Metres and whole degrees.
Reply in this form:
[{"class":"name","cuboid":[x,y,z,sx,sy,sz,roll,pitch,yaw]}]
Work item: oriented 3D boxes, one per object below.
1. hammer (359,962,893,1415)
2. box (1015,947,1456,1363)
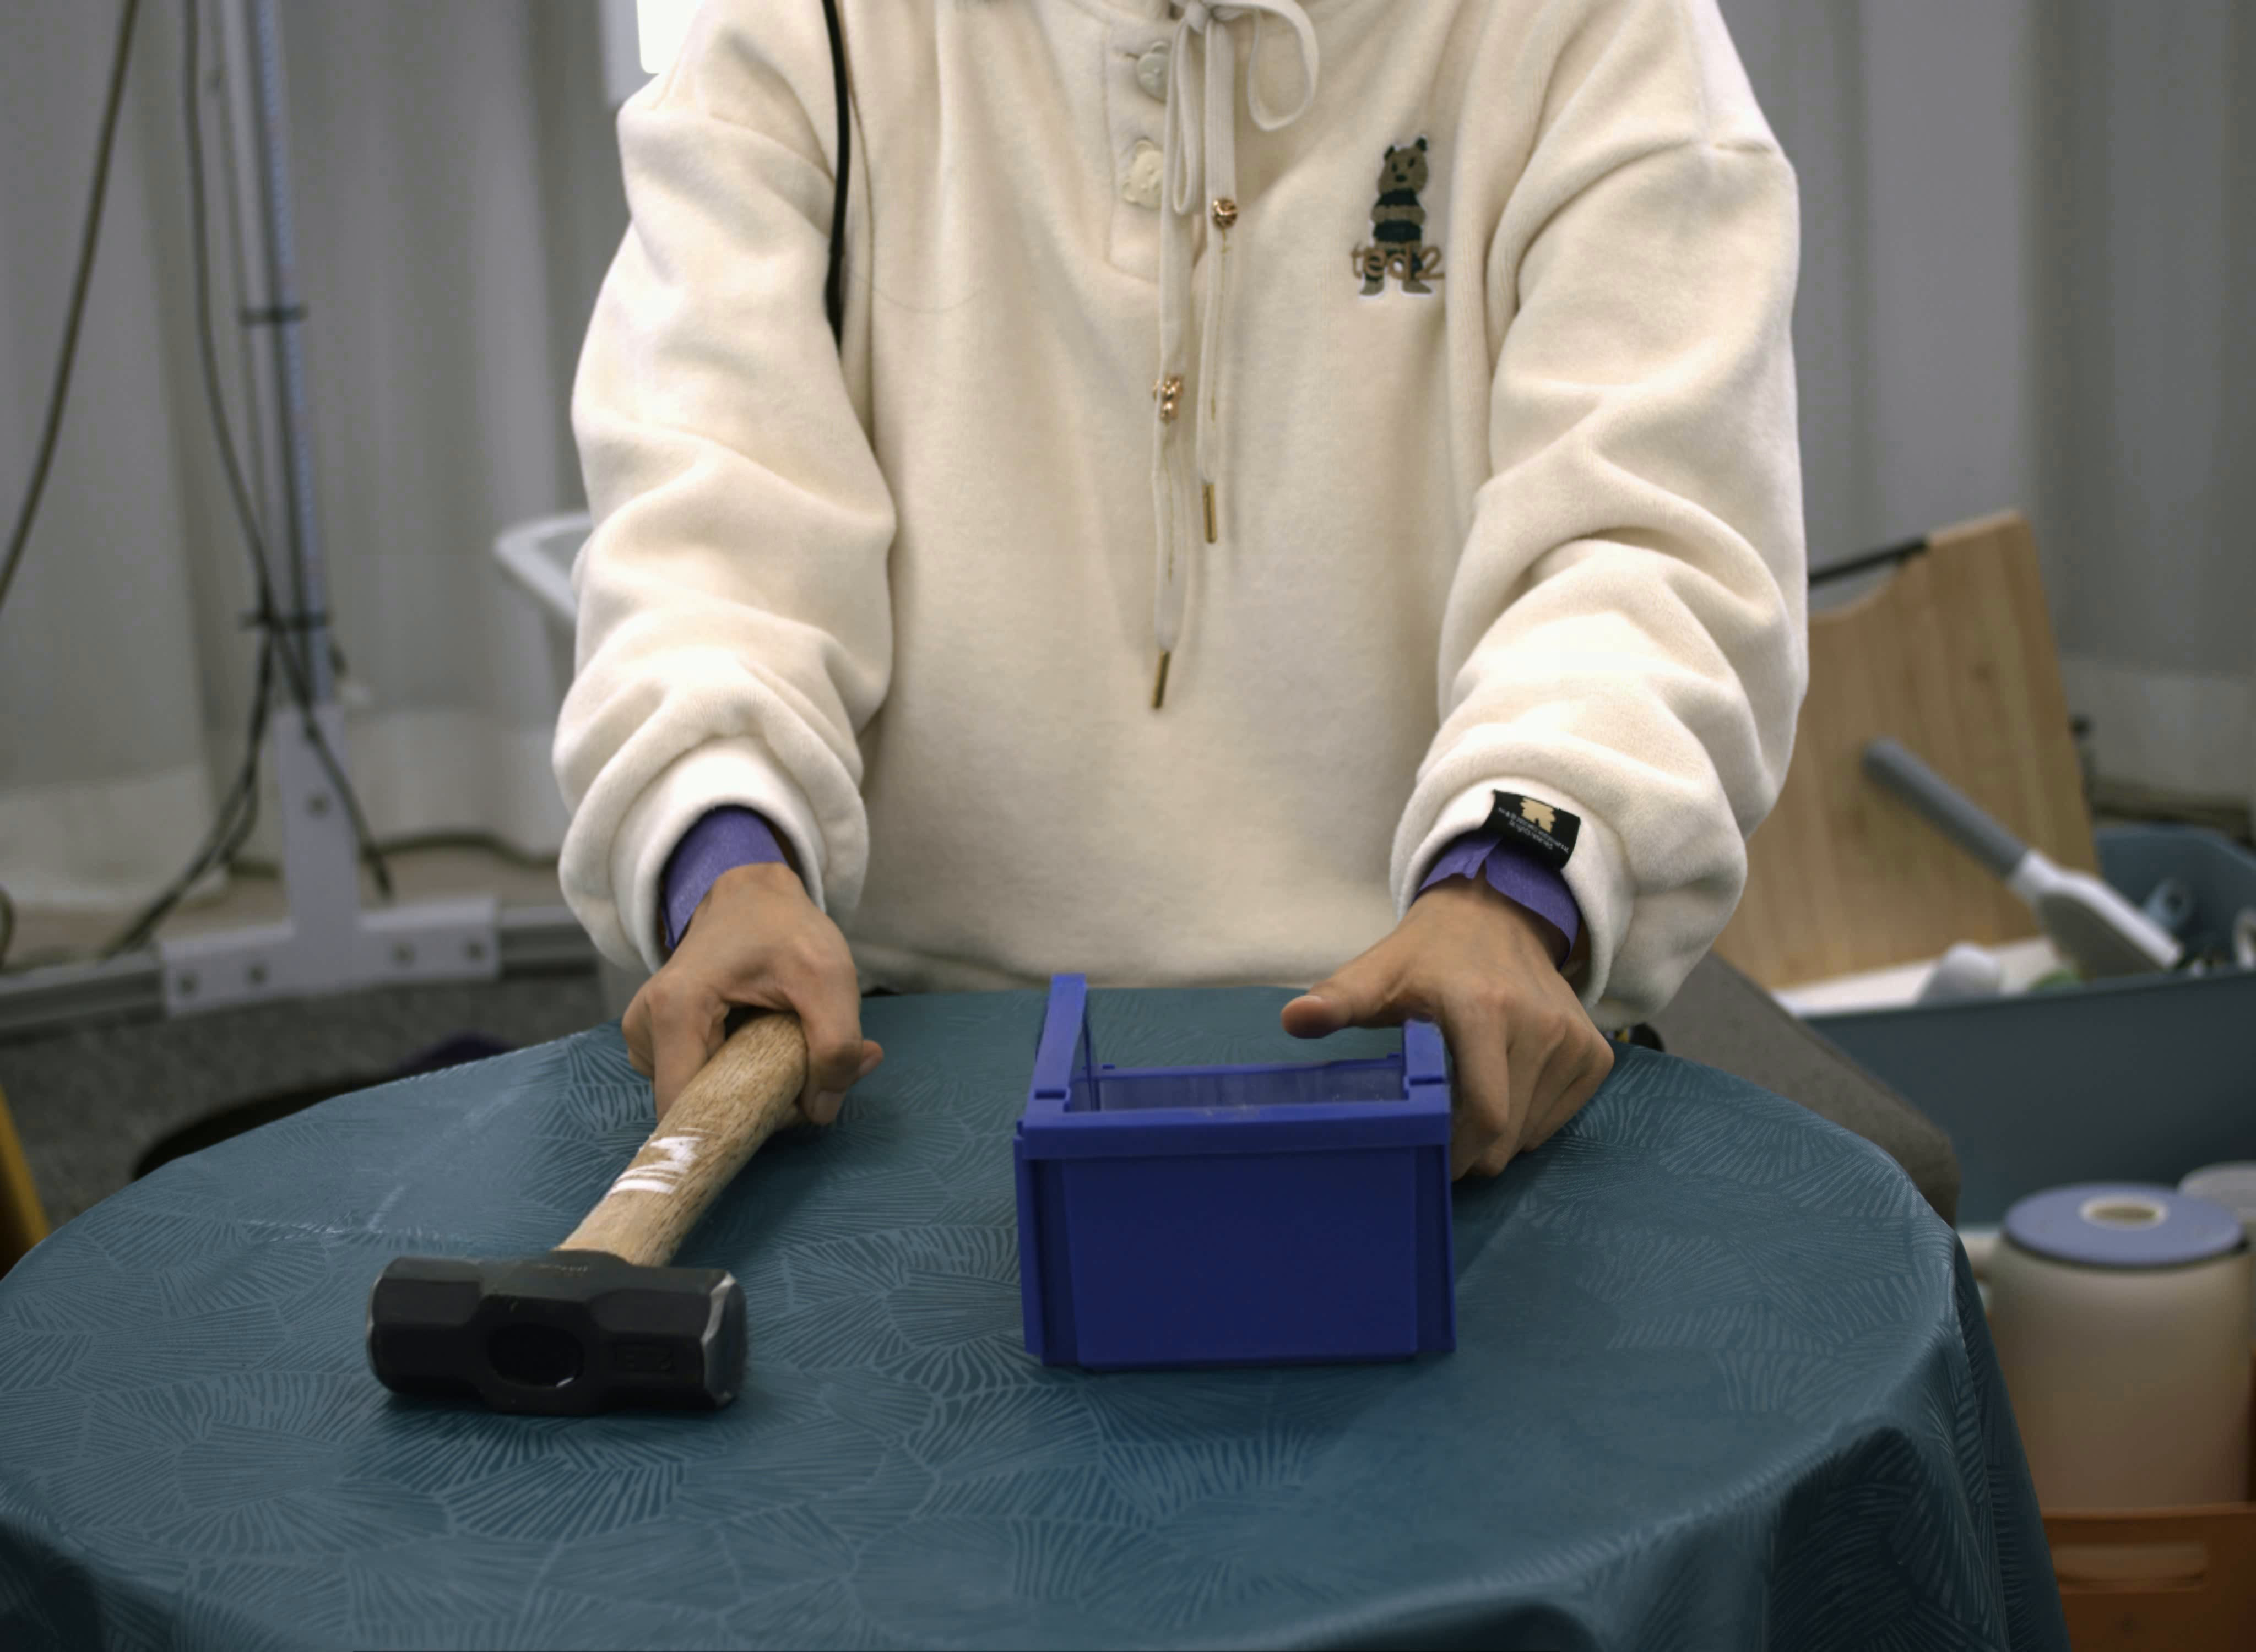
[{"class":"hammer","cuboid":[-0.132,0.103,1.682,0.107,0.038,0.307,2,18,14]},{"class":"box","cuboid":[0.034,0.094,1.630,0.124,0.081,0.181,-3,17,4]}]
